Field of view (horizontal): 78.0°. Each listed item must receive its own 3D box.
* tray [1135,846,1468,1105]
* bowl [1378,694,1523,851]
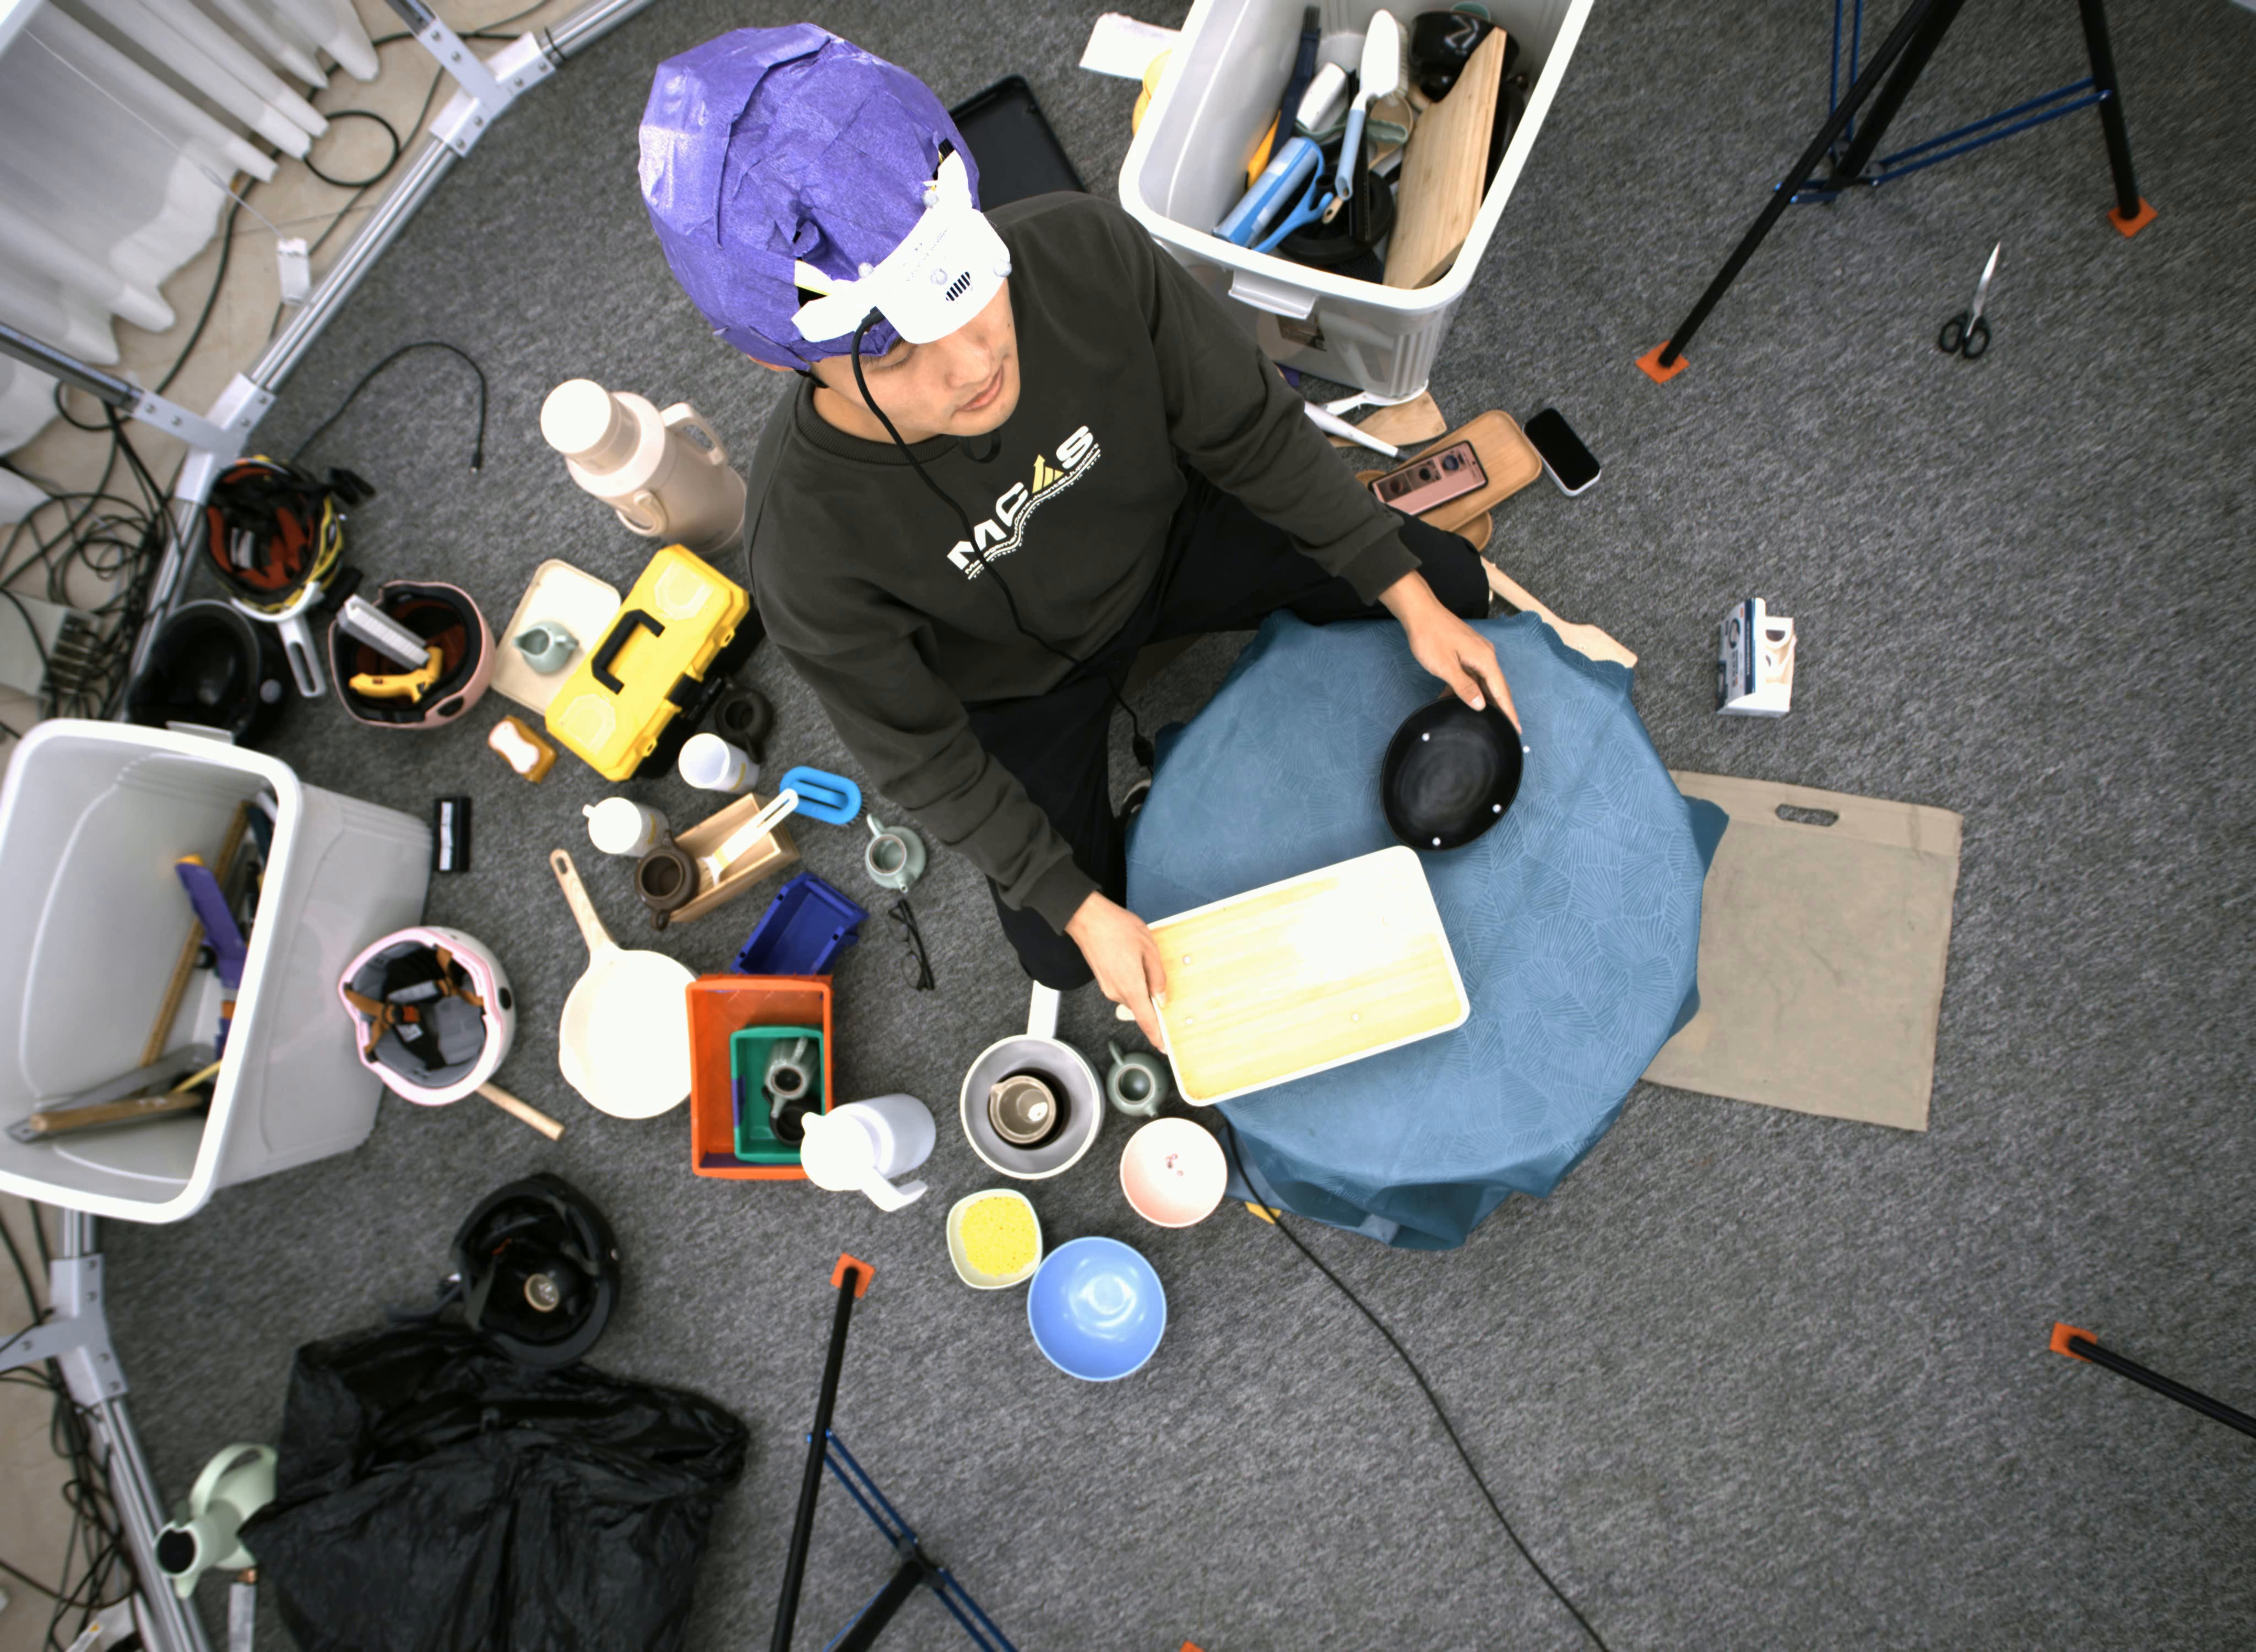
[{"bbox_3d":[0.174,0.150,1.404,0.301,0.027,0.190,-18,81,3],"label":"tray"},{"bbox_3d":[0.333,-0.053,1.424,0.137,0.066,0.171,29,94,13],"label":"bowl"}]
